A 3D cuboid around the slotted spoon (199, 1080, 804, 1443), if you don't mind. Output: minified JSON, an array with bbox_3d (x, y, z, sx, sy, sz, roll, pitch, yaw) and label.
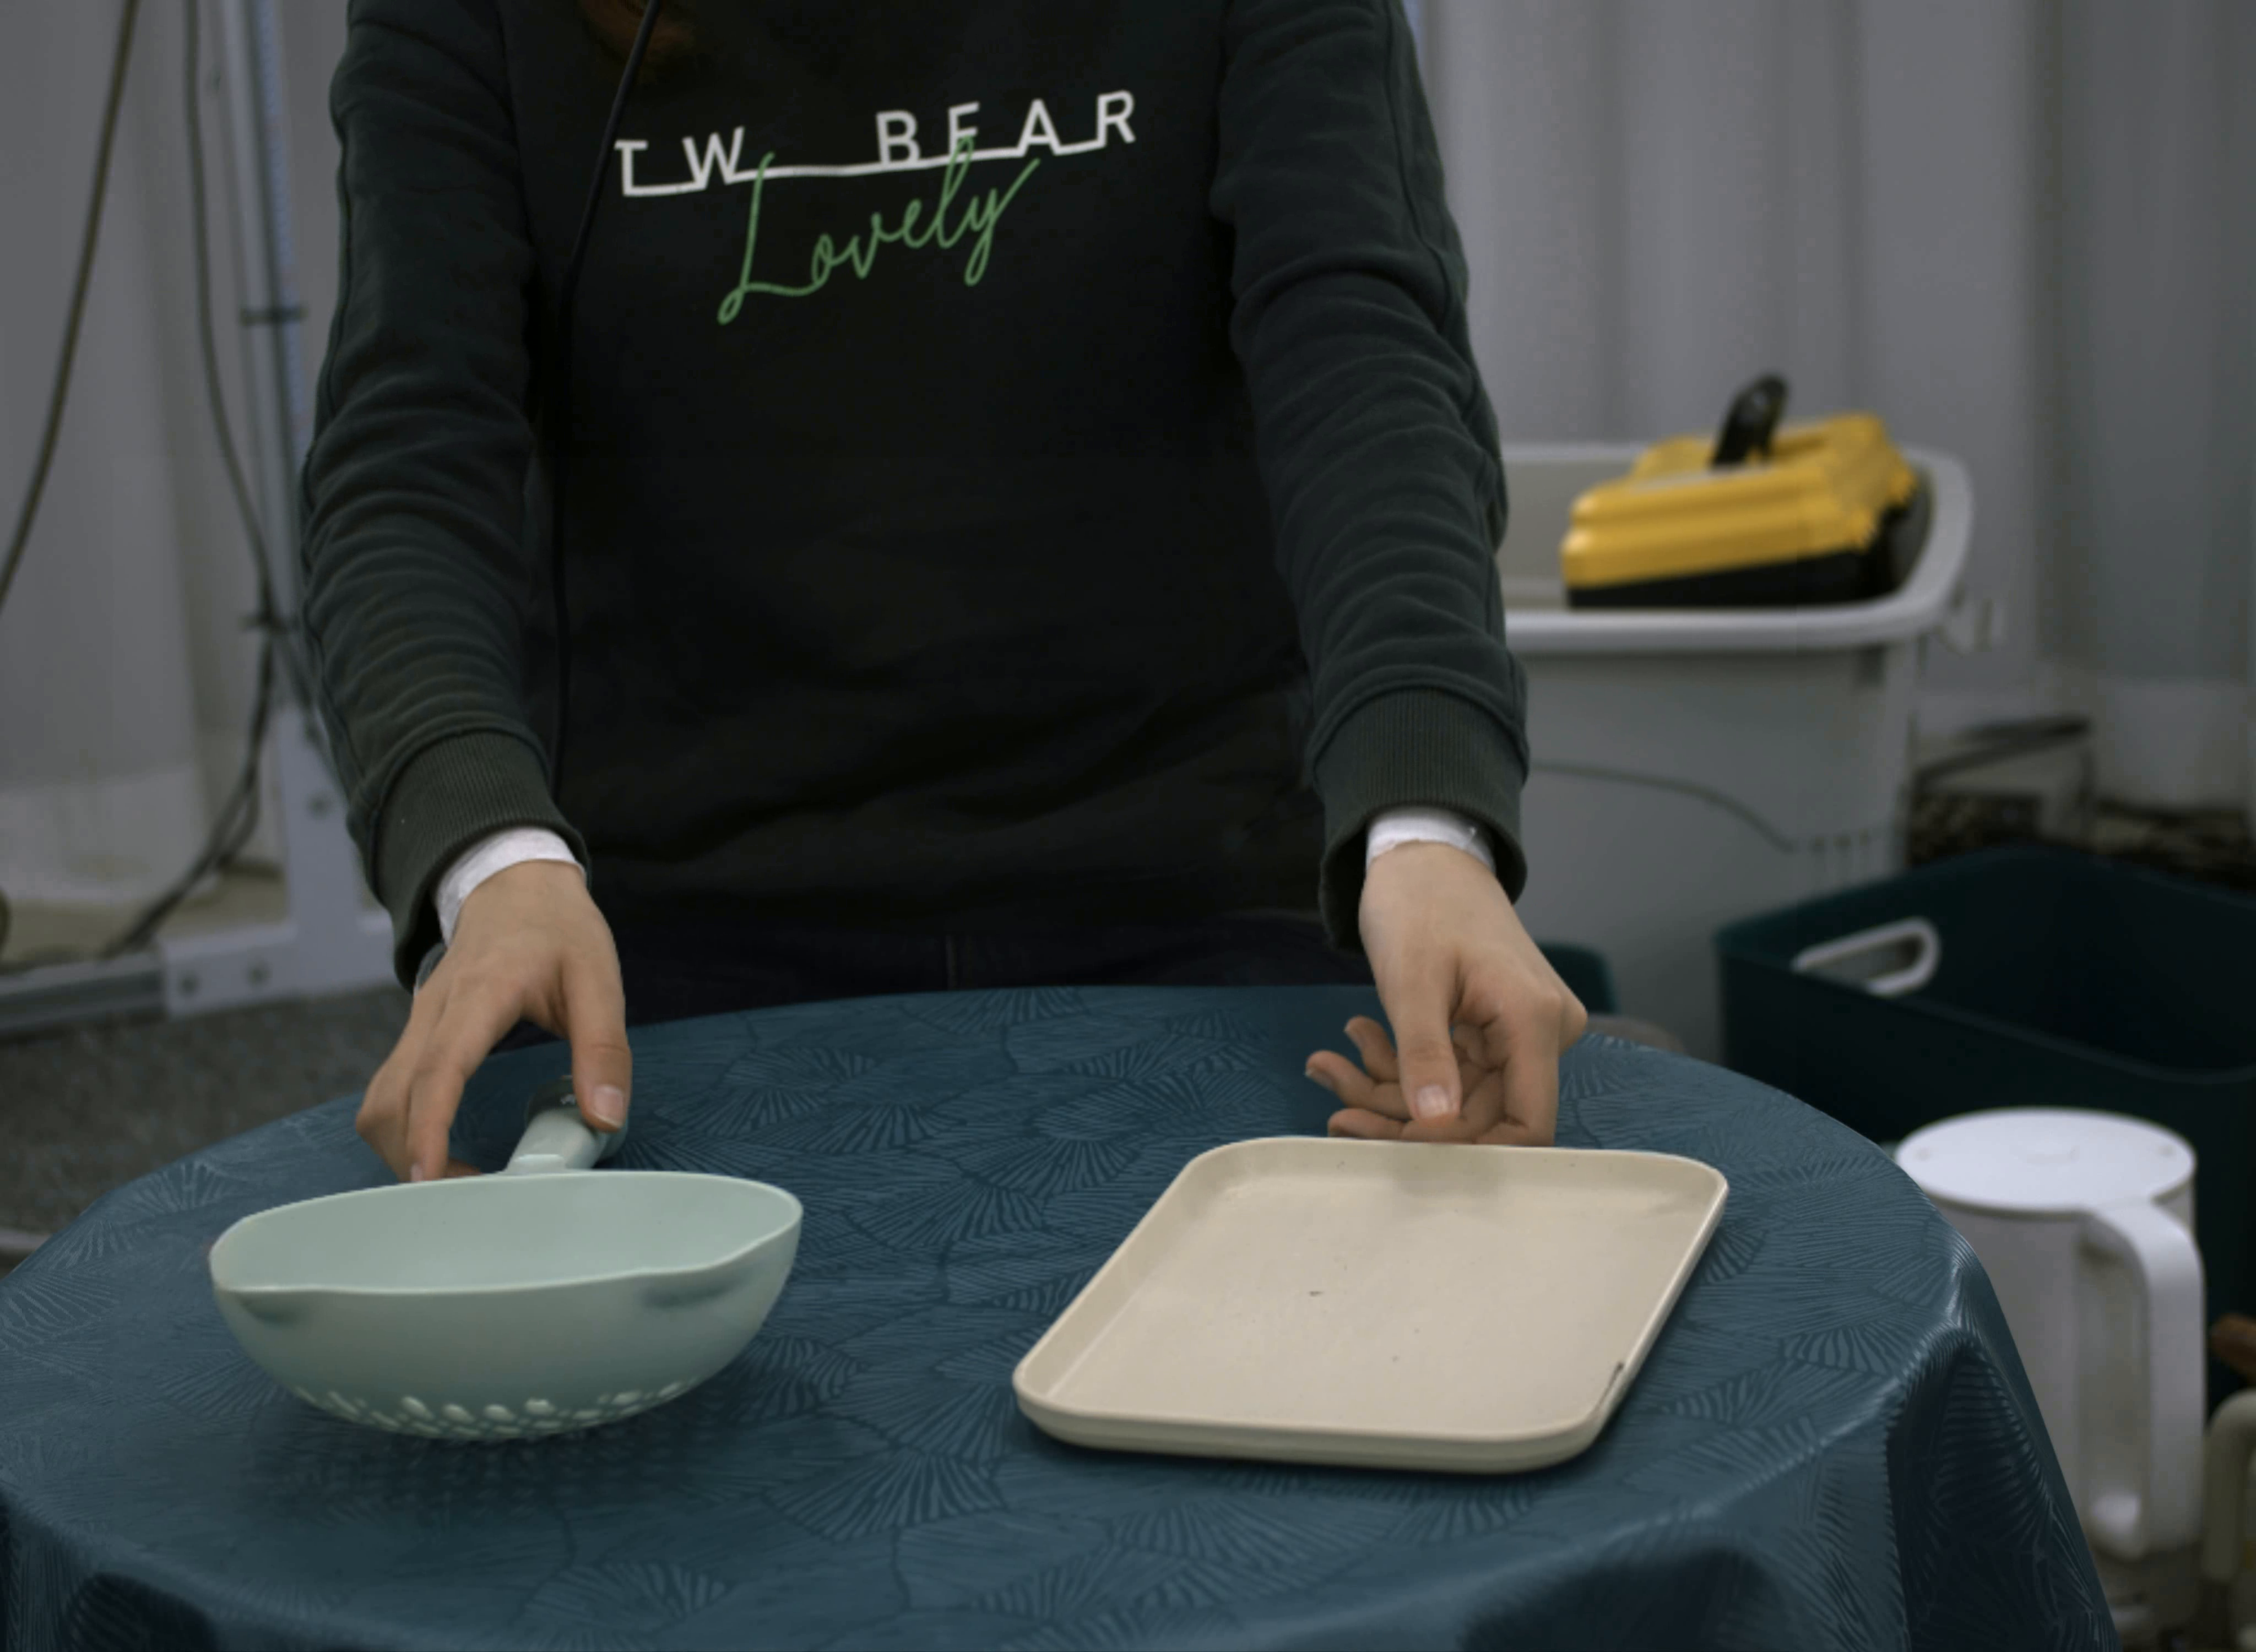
[{"bbox_3d":[-0.175,0.114,1.630,0.169,0.075,0.361,-2,14,0],"label":"slotted spoon"}]

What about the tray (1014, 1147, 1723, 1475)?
[{"bbox_3d":[0.074,0.139,1.580,0.171,0.017,0.240,2,15,16],"label":"tray"}]
